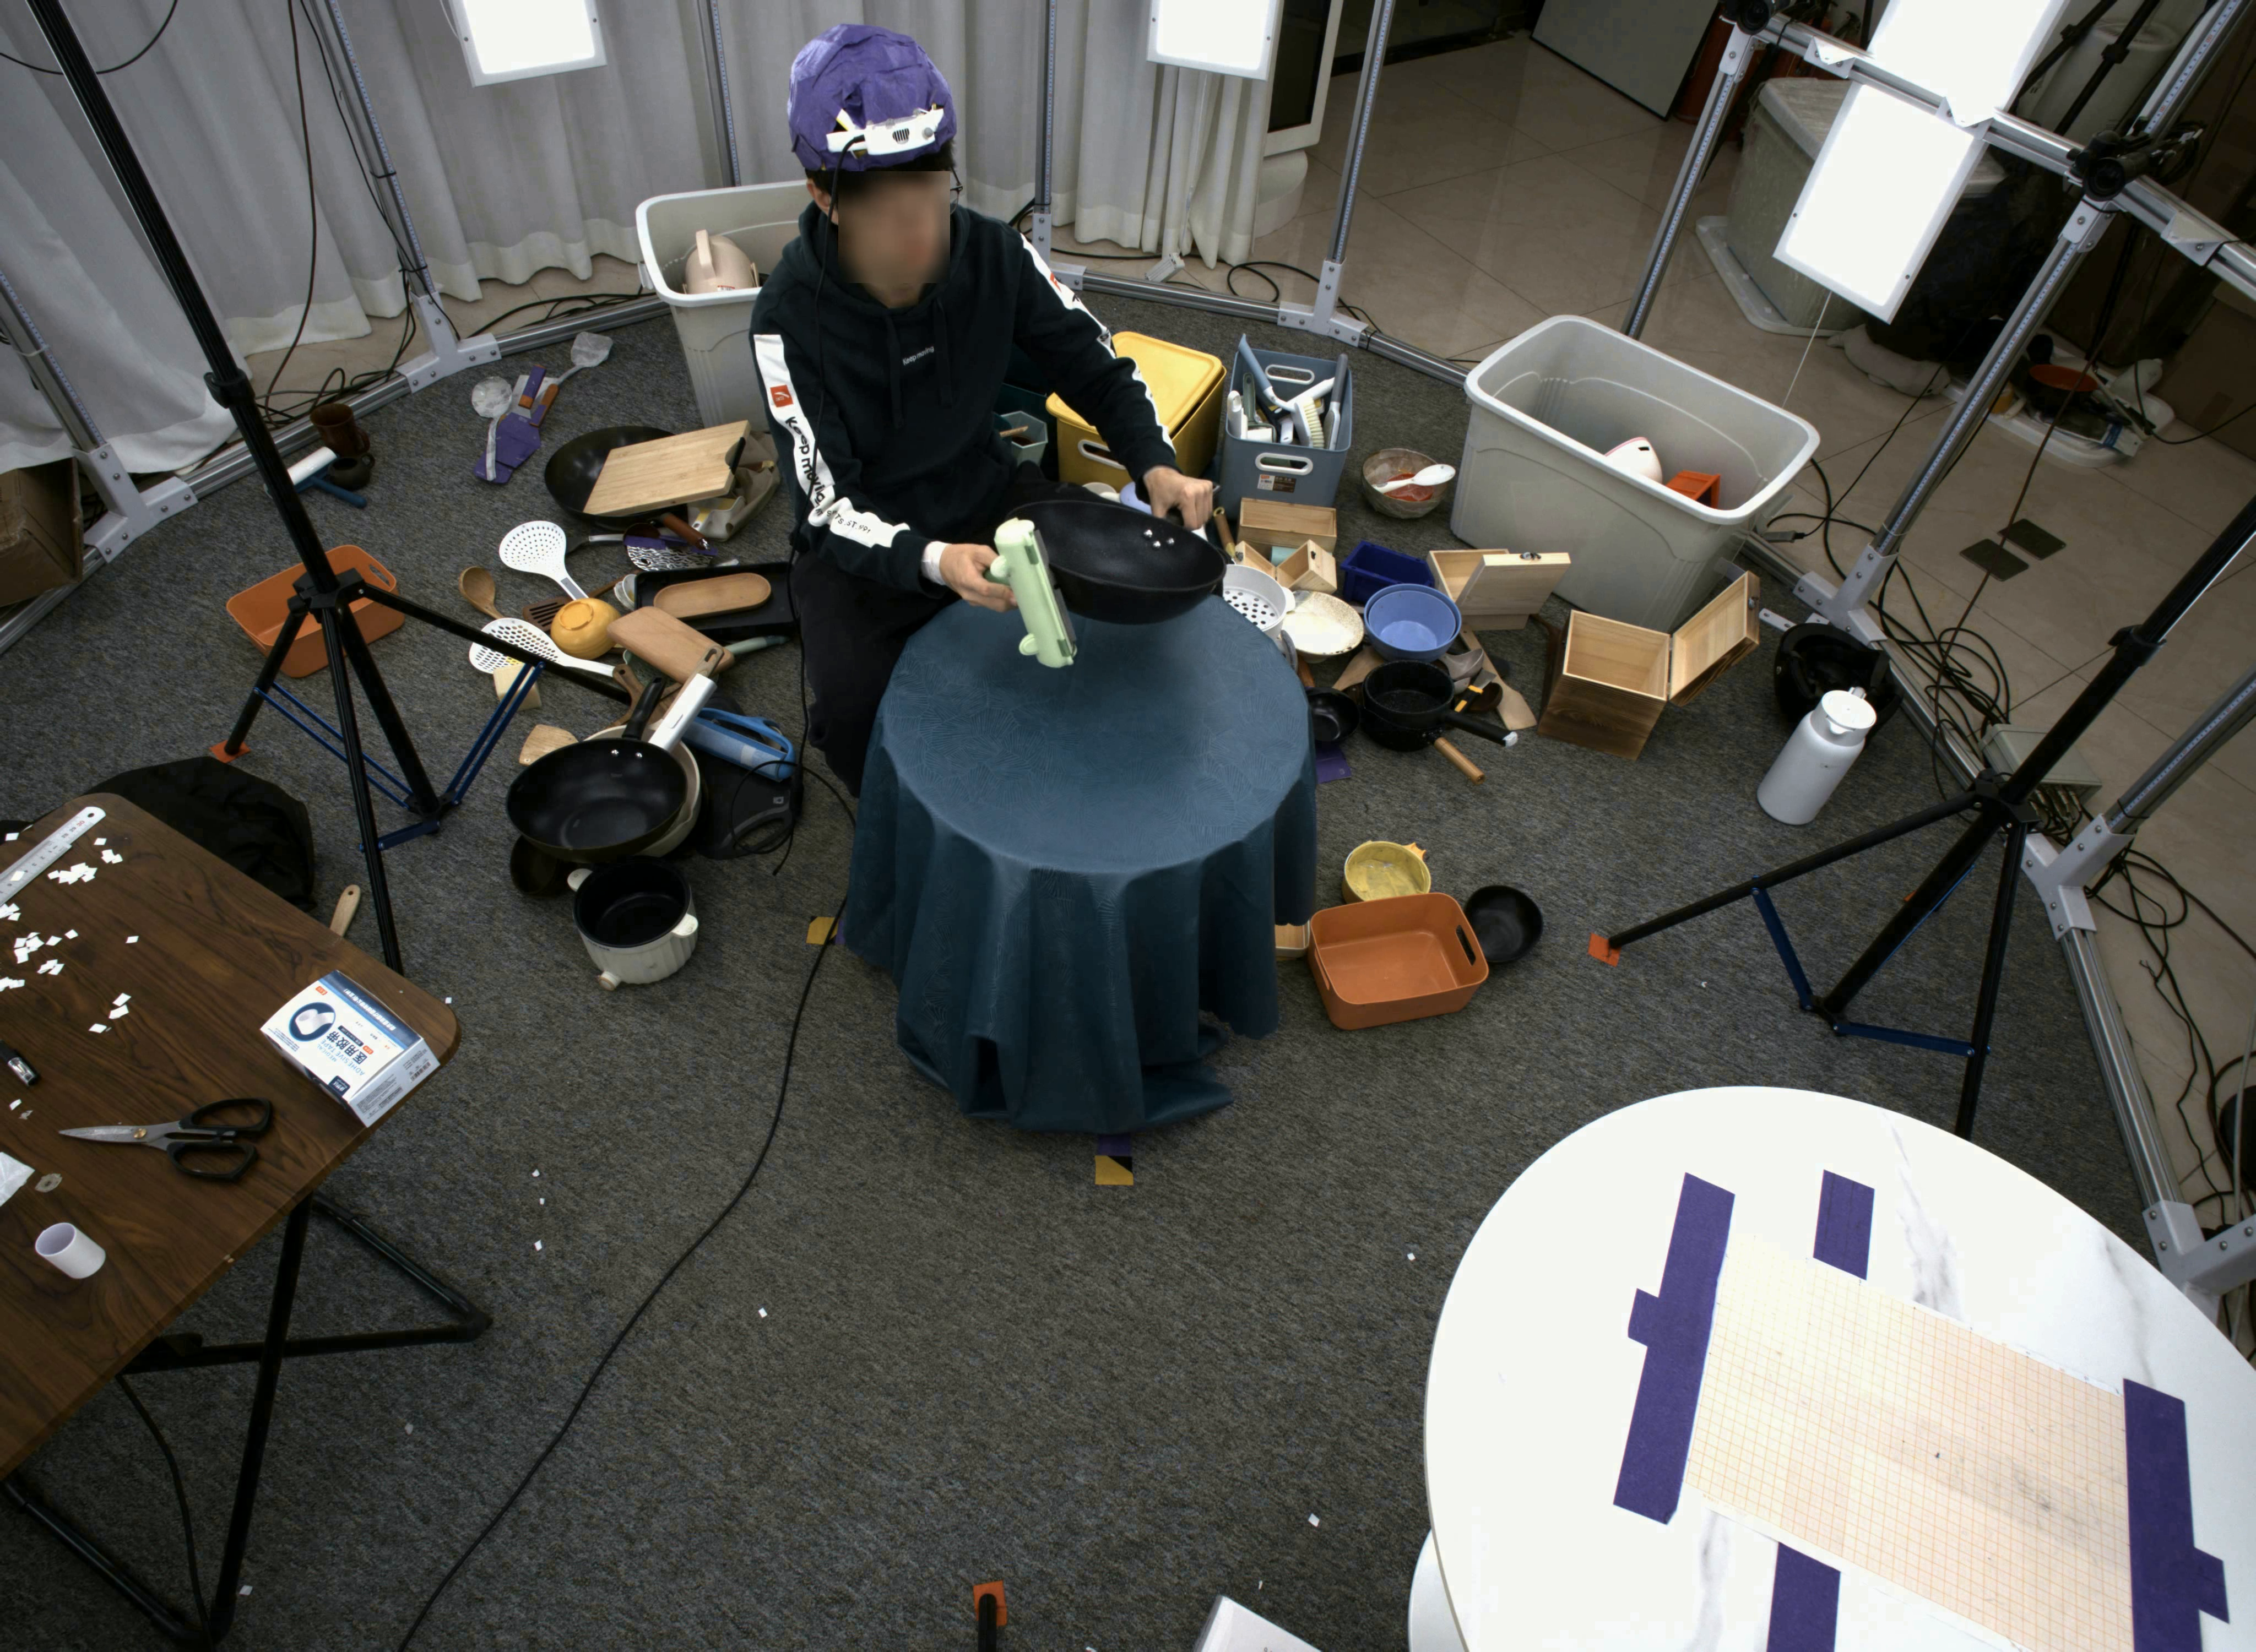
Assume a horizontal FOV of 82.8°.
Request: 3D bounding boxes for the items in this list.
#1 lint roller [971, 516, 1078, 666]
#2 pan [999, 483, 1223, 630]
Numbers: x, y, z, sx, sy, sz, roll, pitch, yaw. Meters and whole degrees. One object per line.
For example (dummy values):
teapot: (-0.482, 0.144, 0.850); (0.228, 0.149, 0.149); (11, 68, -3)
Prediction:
lint roller: (-0.162, -0.304, 1.672); (0.185, 0.194, 0.083); (16, 48, 42)
pan: (0.013, -0.388, 1.823); (0.313, 0.109, 0.482); (25, 33, 19)
